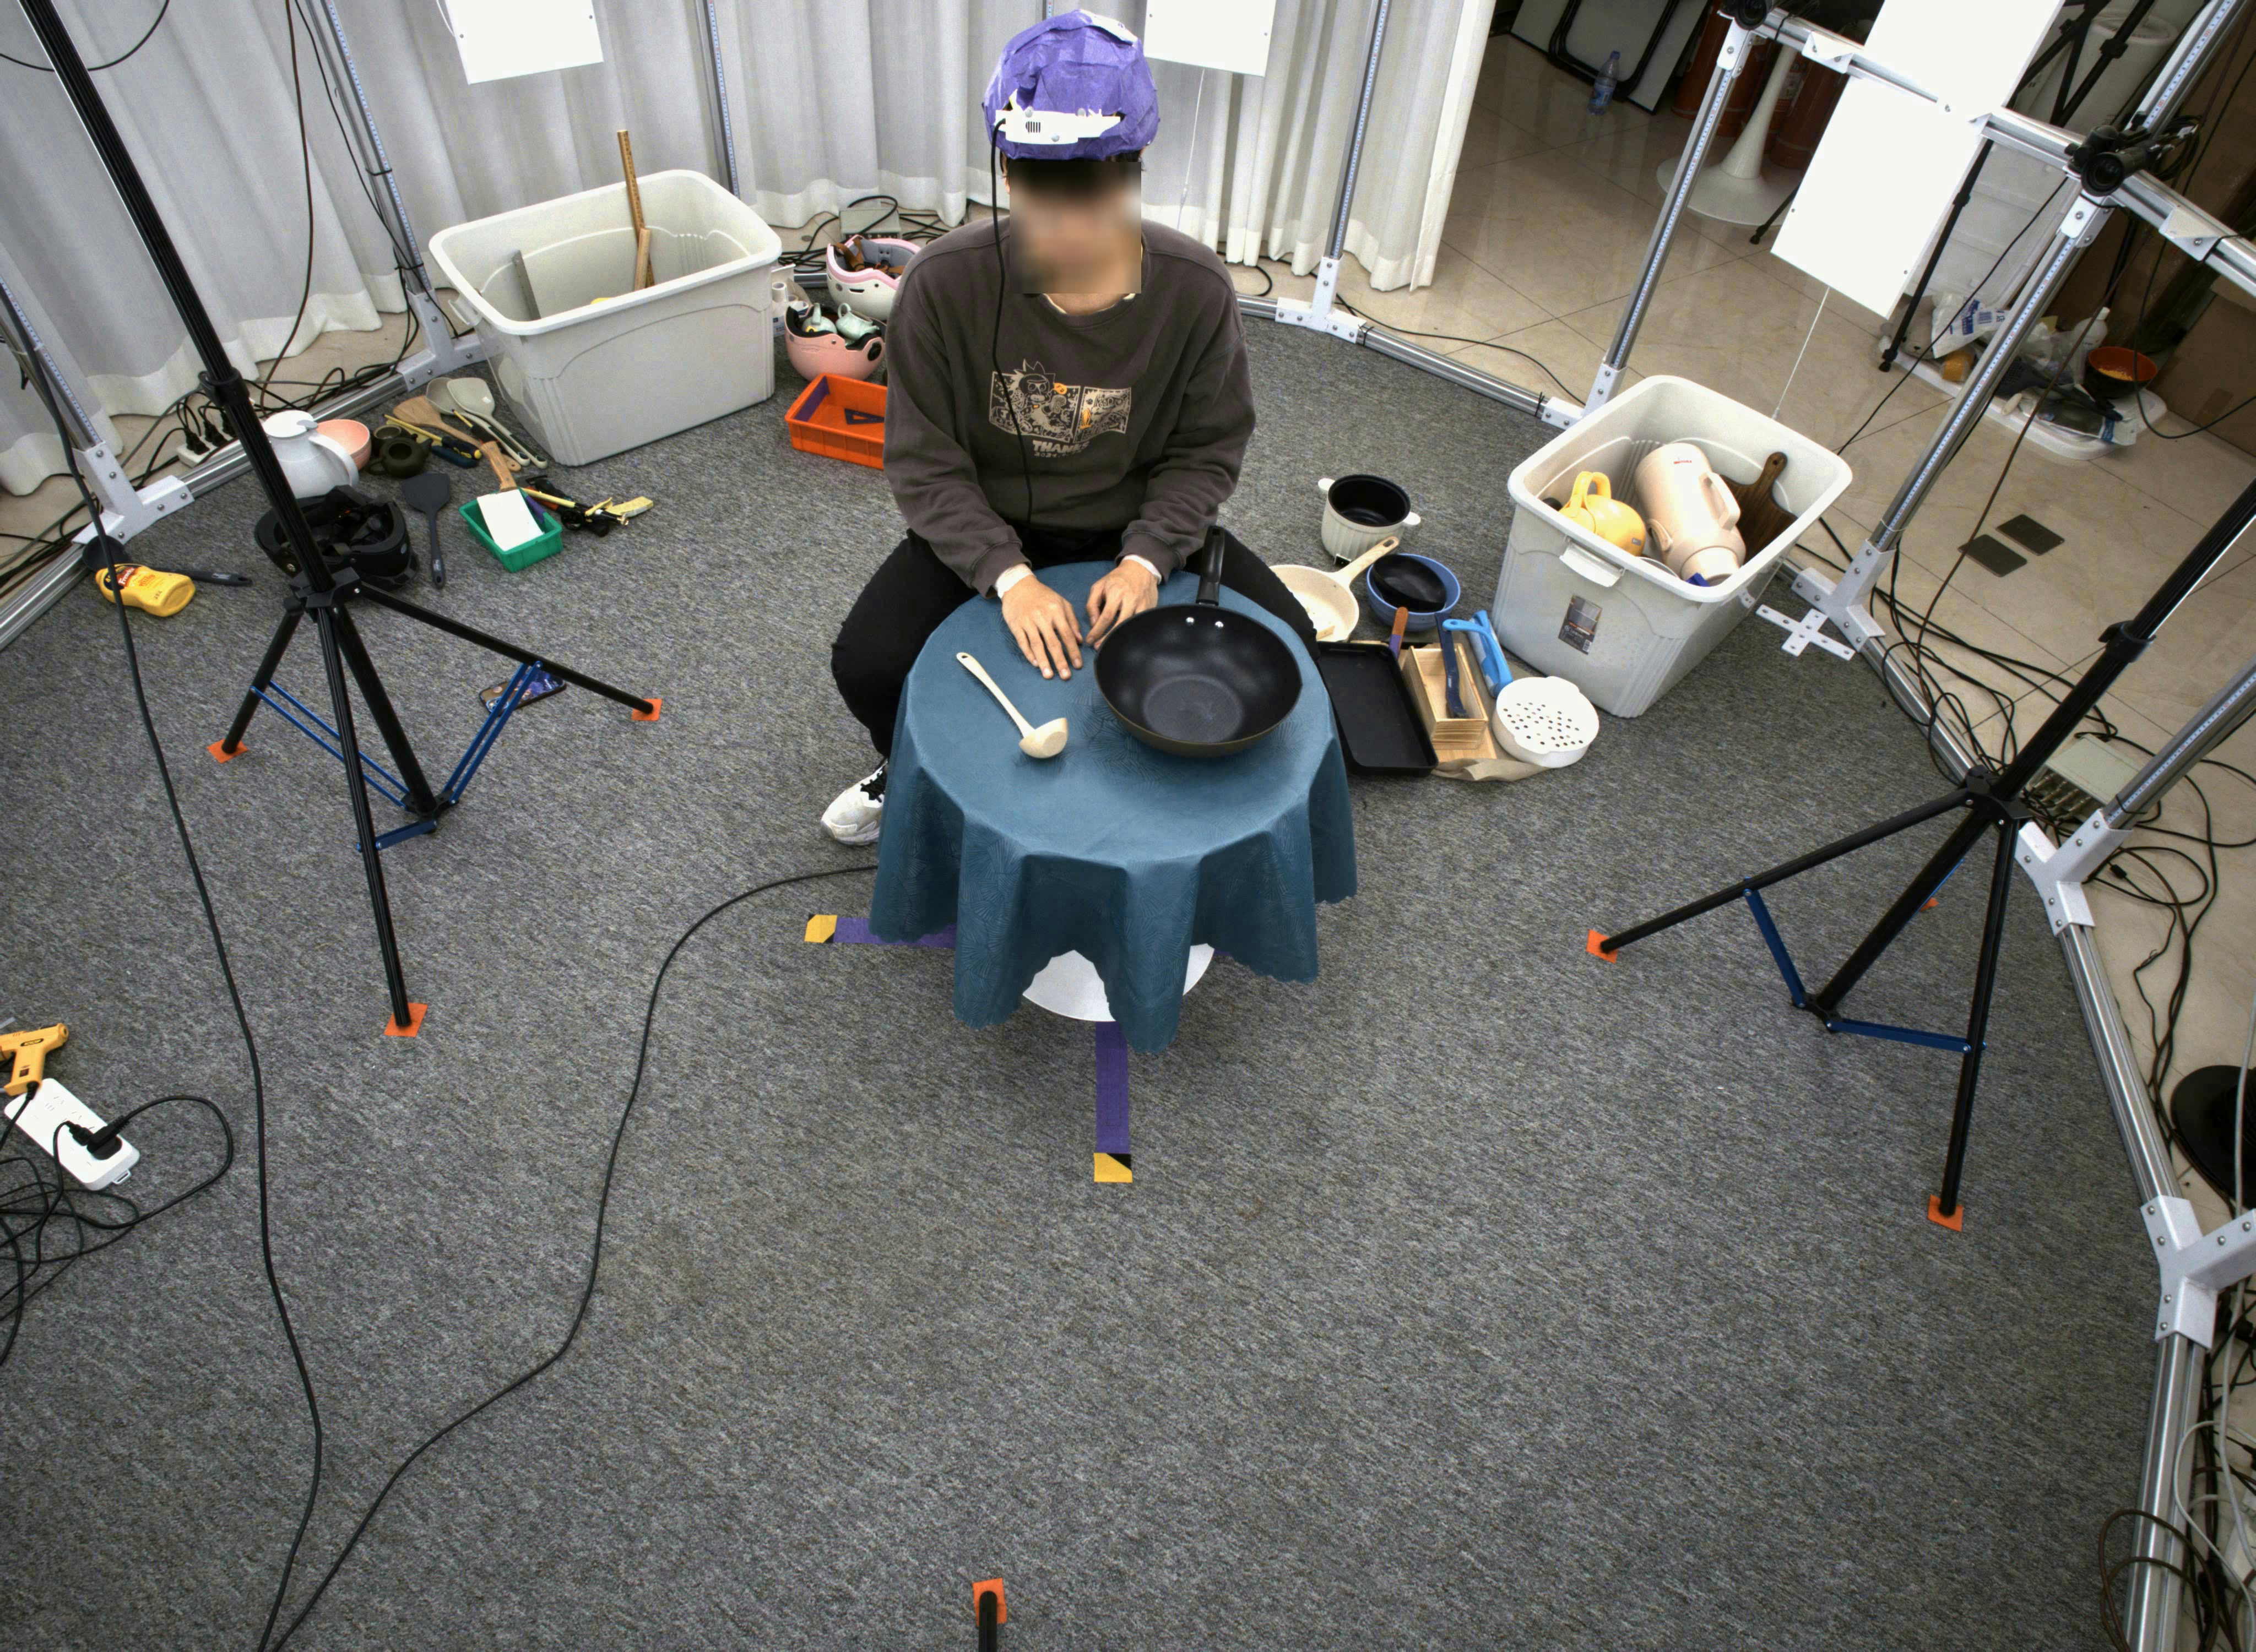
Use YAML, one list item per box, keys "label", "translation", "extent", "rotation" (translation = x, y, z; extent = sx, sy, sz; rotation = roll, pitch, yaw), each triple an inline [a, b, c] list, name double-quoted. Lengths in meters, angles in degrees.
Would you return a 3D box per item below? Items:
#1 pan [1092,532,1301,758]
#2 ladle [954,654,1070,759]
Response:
- label: "pan"
  translation: [0.104, -0.256, 1.842]
  extent: [0.288, 0.085, 0.474]
  rotation: [7, 48, 3]
- label: "ladle"
  translation: [-0.172, -0.187, 1.771]
  extent: [0.072, 0.071, 0.259]
  rotation: [-31, 57, -21]
